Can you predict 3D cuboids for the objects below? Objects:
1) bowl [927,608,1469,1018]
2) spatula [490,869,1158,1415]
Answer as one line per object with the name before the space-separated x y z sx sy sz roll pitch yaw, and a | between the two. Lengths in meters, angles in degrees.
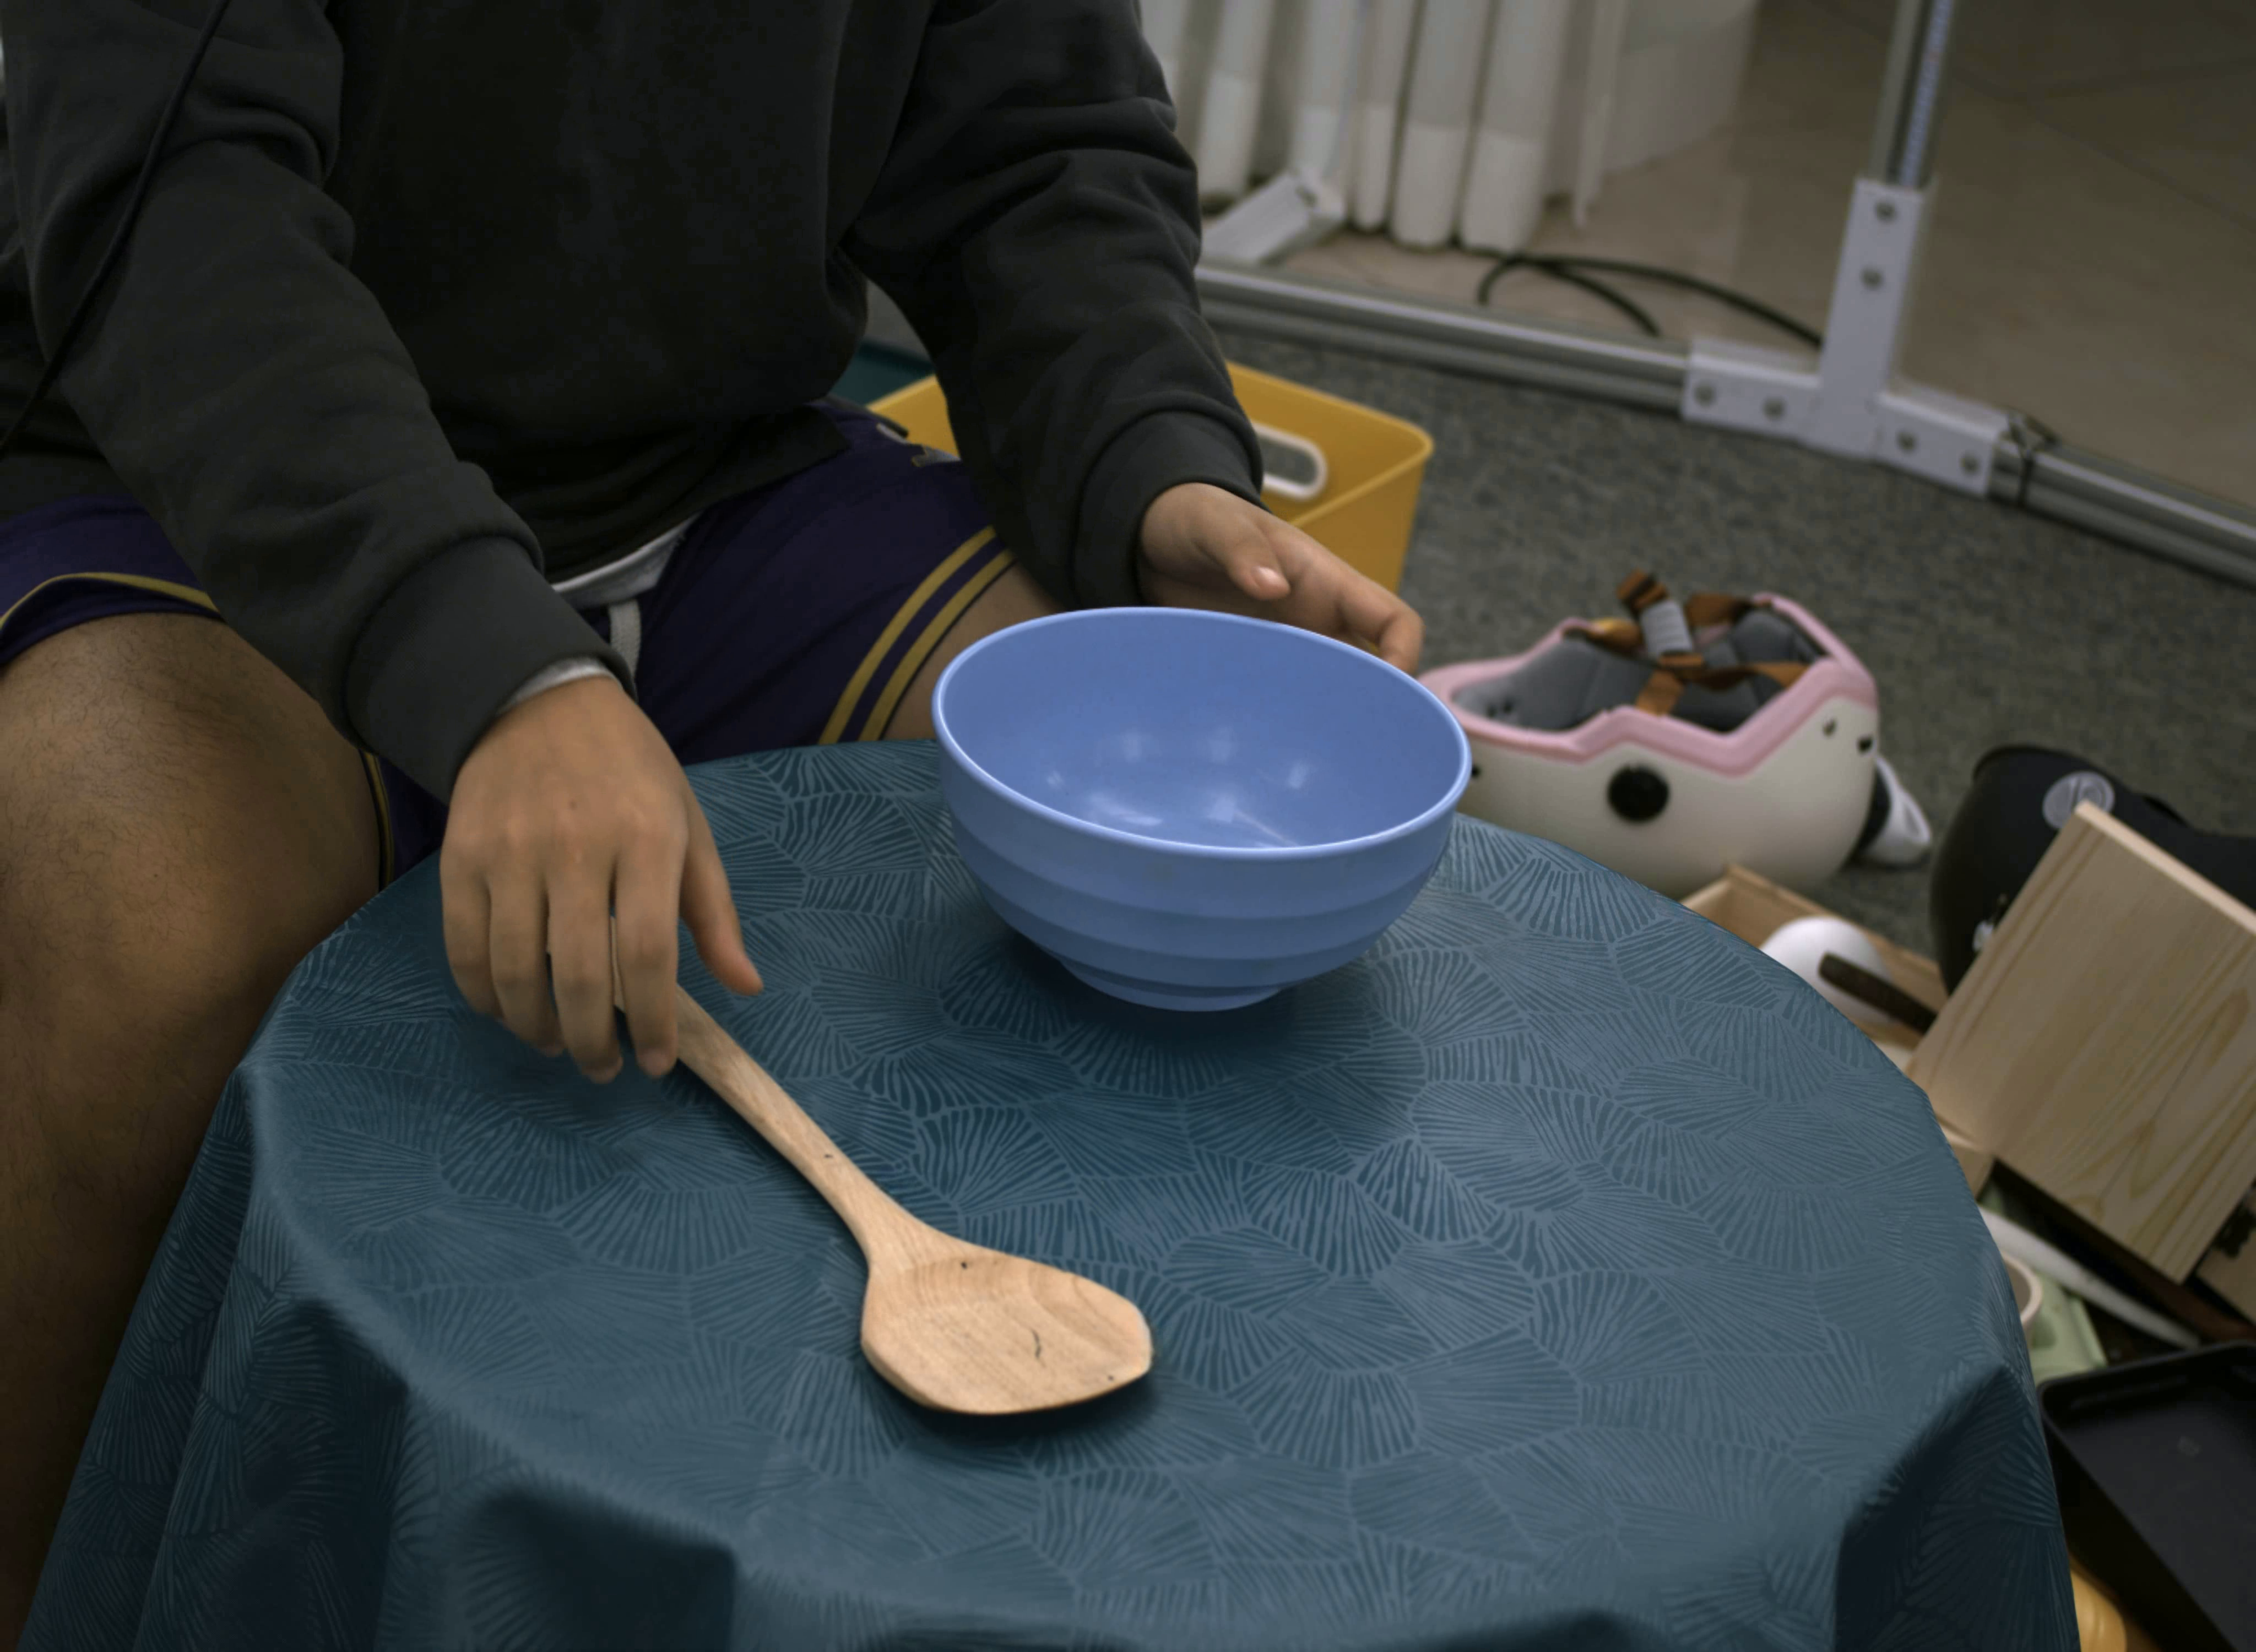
bowl | 0.022 0.006 1.938 0.196 0.095 0.198 4 29 -2
spatula | -0.125 0.100 1.800 0.095 0.018 0.394 -9 31 -32
